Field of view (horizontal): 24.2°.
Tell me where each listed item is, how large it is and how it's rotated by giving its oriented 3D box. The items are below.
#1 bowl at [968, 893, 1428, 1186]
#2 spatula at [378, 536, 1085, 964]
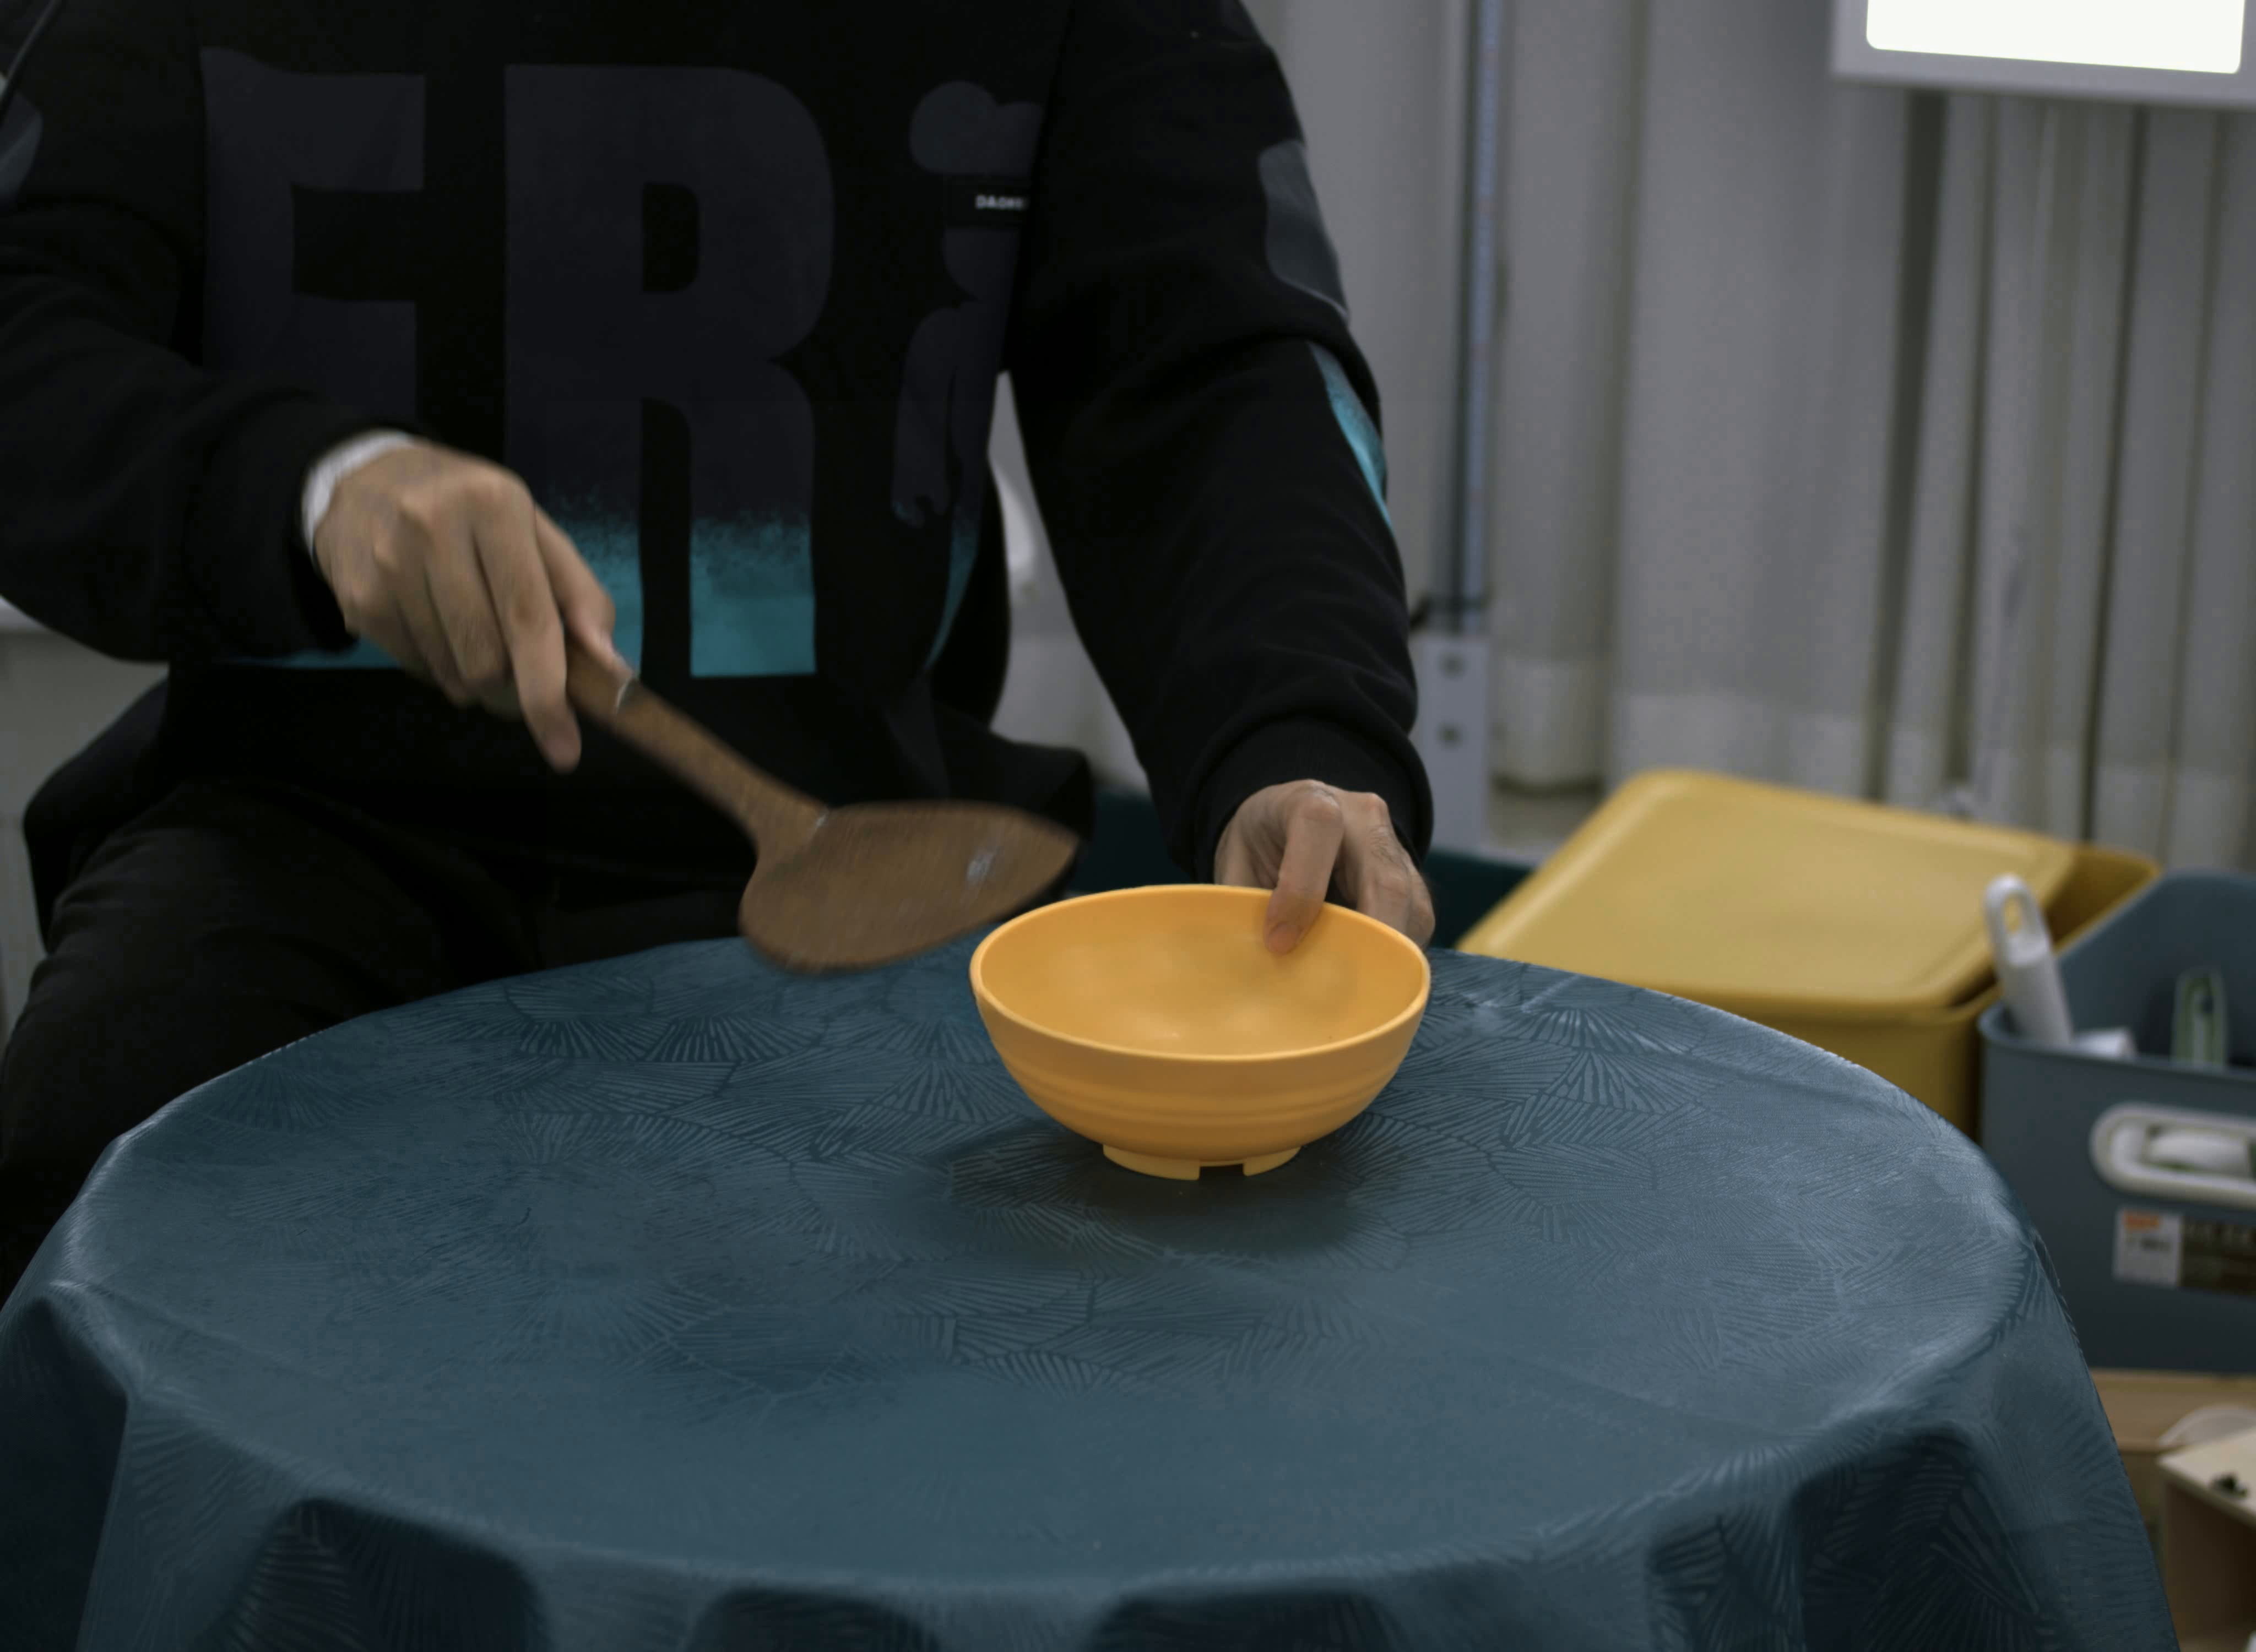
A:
[{"bbox_3d":[0.020,0.073,1.655,0.145,0.060,0.144,3,19,-1],"label":"bowl"},{"bbox_3d":[-0.146,-0.034,1.651,0.096,0.016,0.380,-27,33,-24],"label":"spatula"}]
